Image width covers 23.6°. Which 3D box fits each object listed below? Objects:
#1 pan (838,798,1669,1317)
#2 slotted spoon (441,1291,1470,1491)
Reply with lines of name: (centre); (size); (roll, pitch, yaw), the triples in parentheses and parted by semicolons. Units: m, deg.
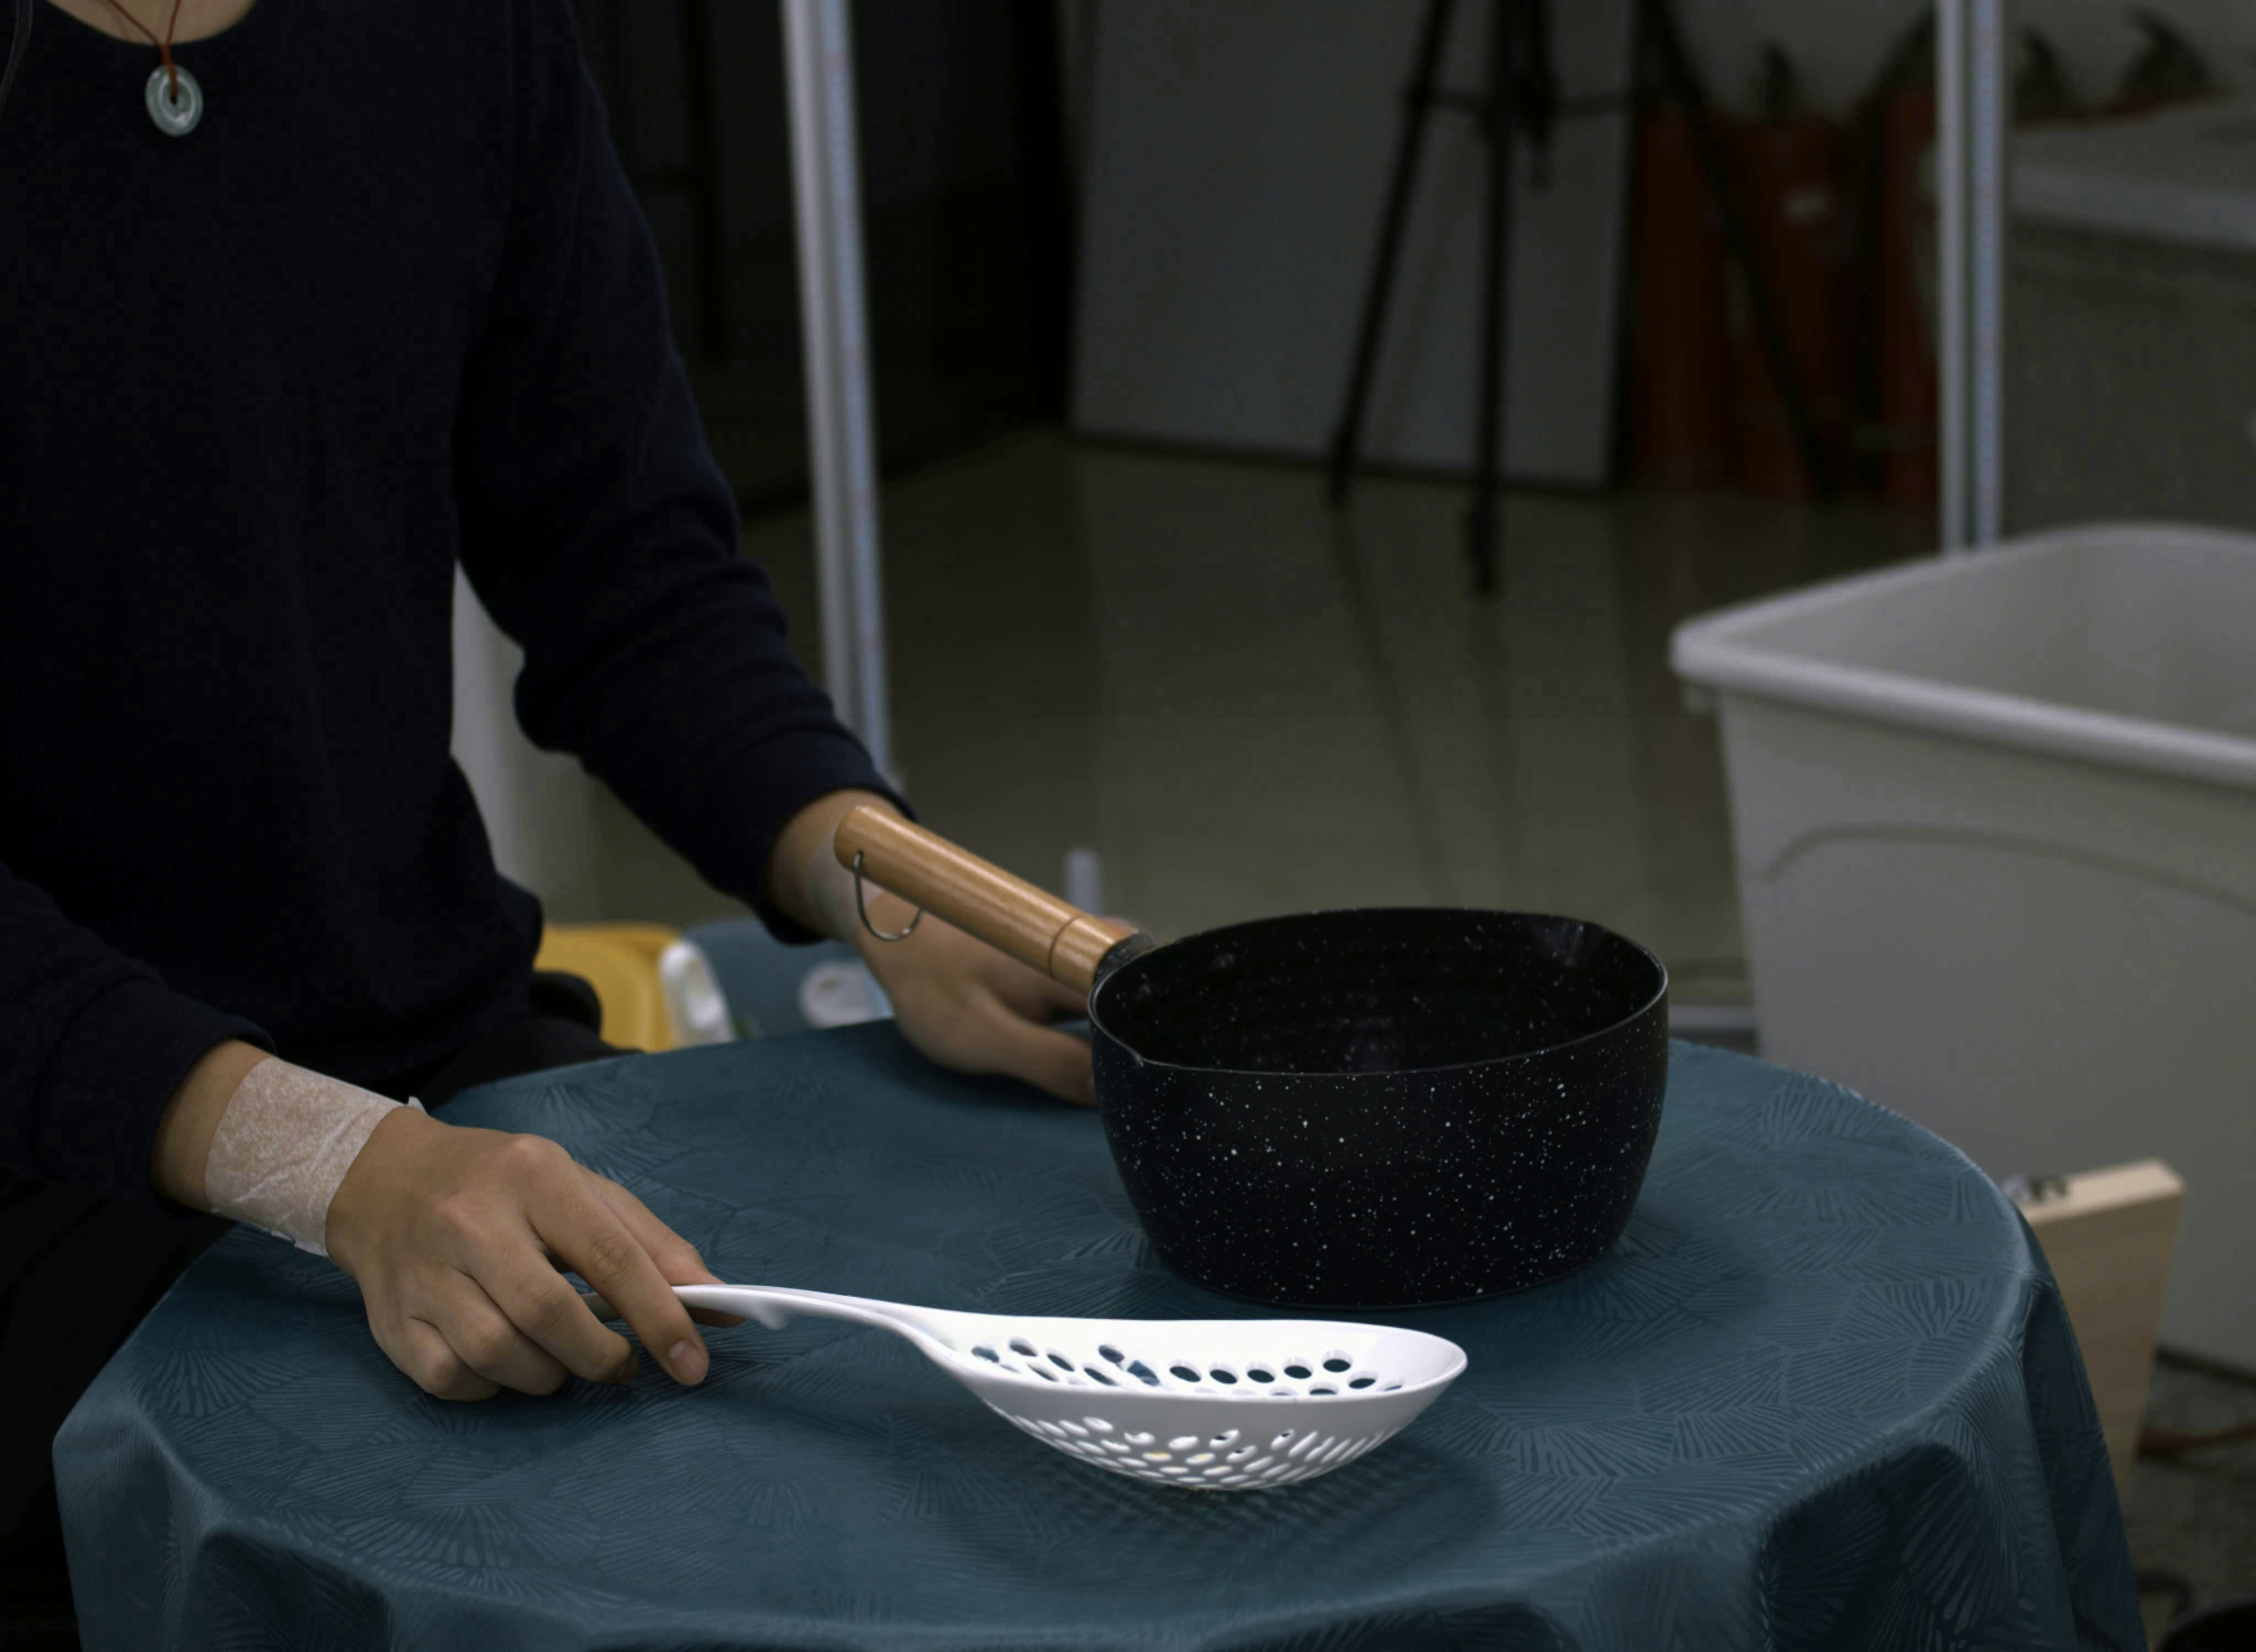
pan: (0.024, 0.068, 1.752); (0.203, 0.109, 0.346); (-18, 21, -42)
slotted spoon: (-0.062, 0.153, 1.566); (0.350, 0.051, 0.134); (7, 8, 36)
